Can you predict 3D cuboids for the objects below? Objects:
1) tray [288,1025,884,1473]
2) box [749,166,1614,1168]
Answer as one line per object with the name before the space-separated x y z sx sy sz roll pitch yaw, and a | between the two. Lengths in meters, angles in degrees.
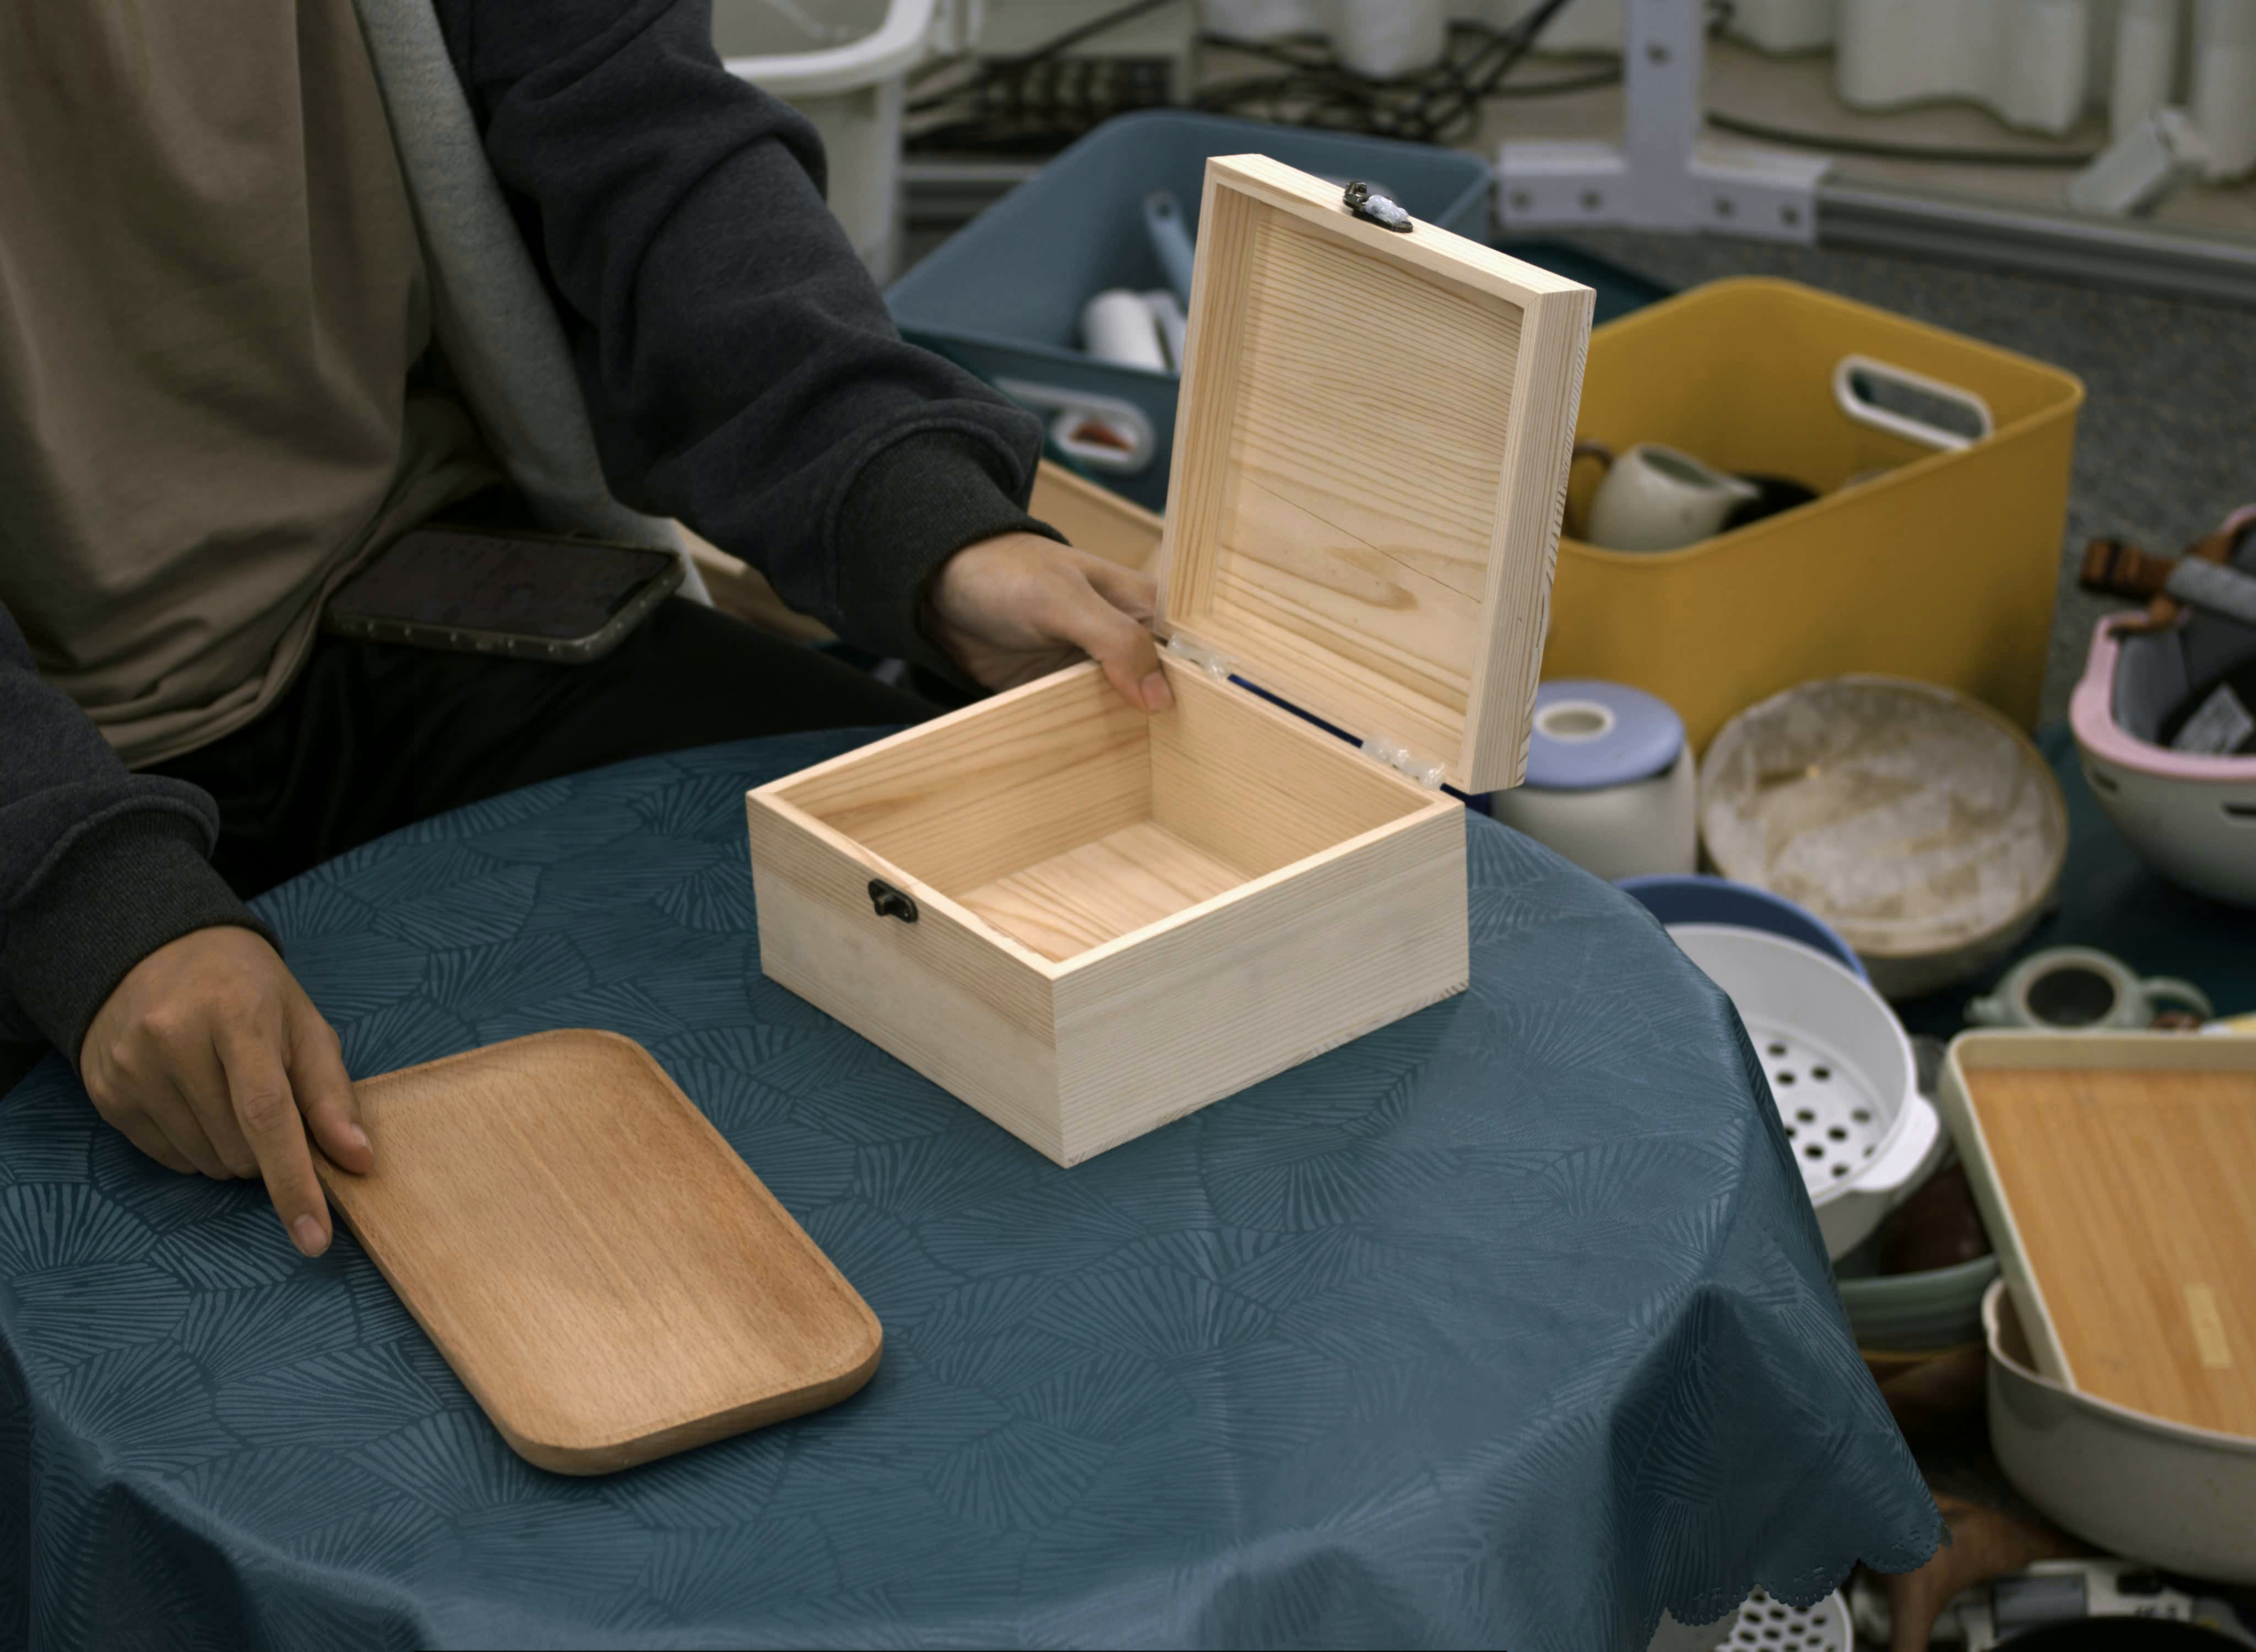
tray | -0.180 0.135 1.831 0.131 0.022 0.252 -11 28 -24
box | 0.015 -0.064 1.957 0.267 0.251 0.181 -21 29 -34
